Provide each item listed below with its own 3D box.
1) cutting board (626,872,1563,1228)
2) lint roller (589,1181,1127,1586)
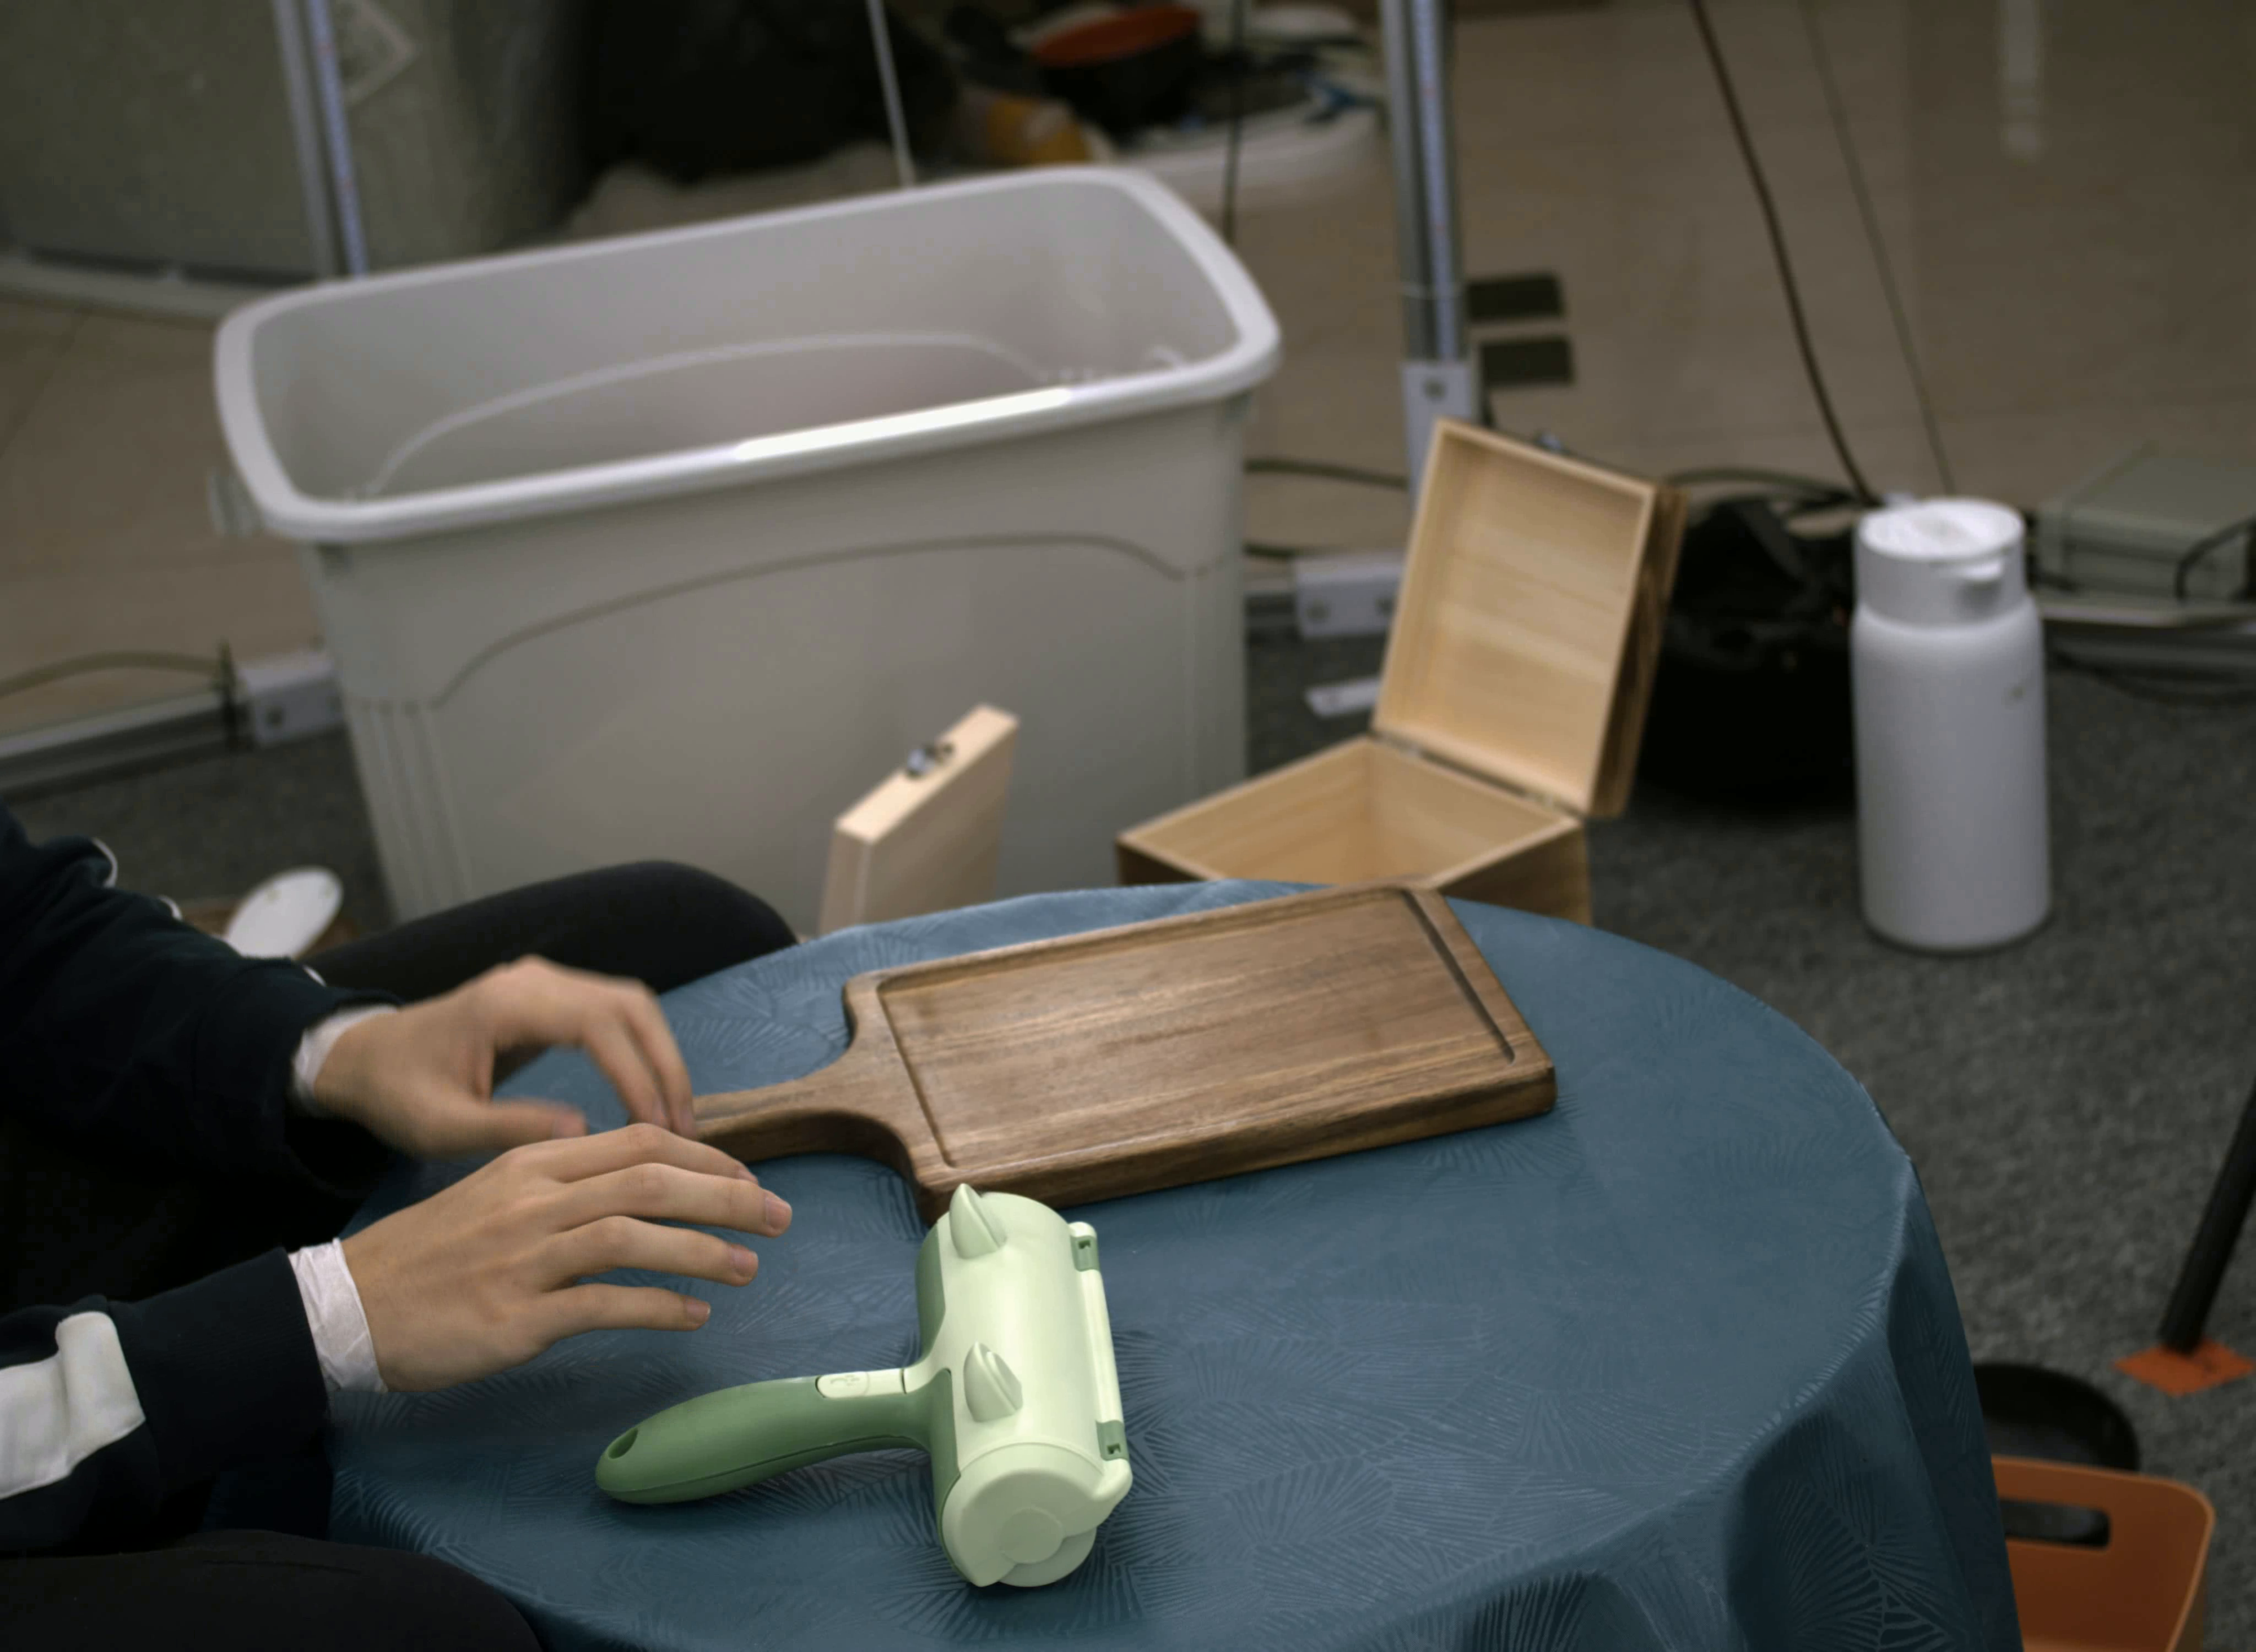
[{"bbox_3d":[-0.023,0.094,2.221,0.351,0.023,0.198,-11,25,-9],"label":"cutting board"},{"bbox_3d":[-0.097,0.190,1.966,0.183,0.083,0.195,-3,25,-3],"label":"lint roller"}]
